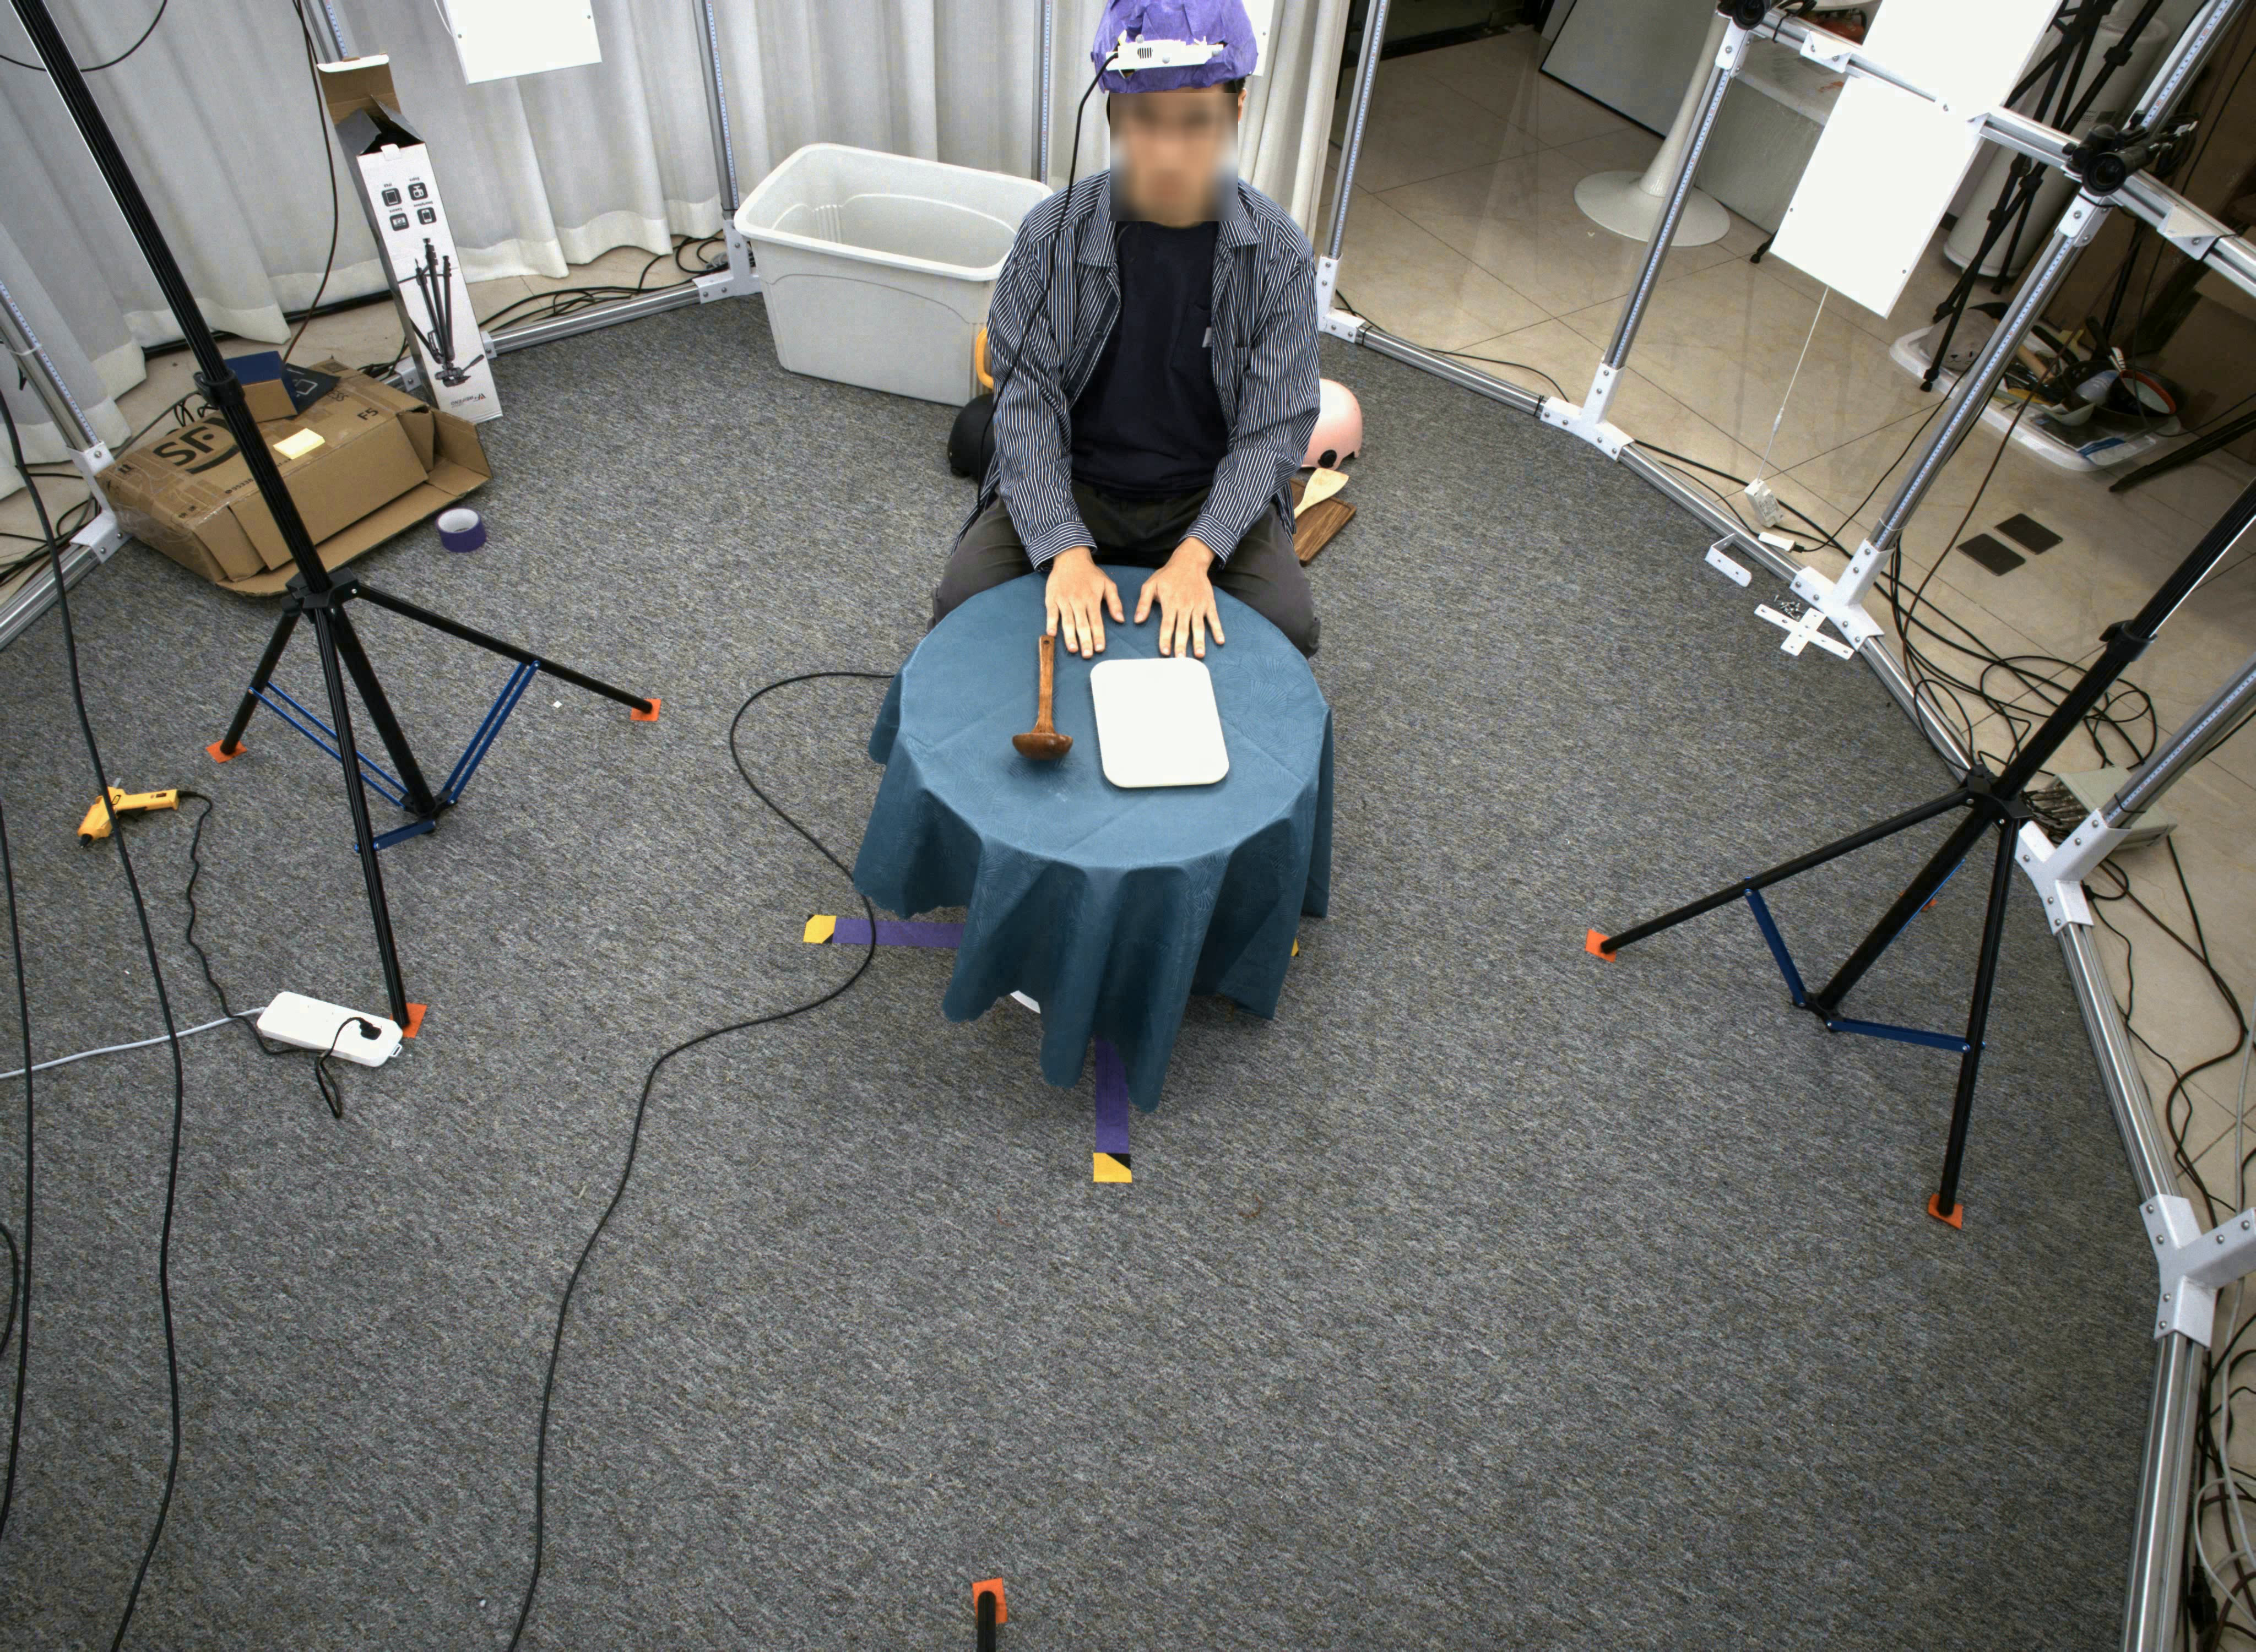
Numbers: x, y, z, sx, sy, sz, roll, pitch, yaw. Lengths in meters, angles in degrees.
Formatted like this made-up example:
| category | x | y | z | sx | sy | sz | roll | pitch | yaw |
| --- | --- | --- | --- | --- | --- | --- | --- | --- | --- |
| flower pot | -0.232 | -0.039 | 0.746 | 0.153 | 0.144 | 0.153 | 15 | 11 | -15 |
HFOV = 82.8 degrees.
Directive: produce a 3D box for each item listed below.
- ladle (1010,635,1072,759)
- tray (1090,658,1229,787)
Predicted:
| category | x | y | z | sx | sy | sz | roll | pitch | yaw |
| --- | --- | --- | --- | --- | --- | --- | --- | --- | --- |
| ladle | -0.114 | -0.193 | 1.767 | 0.082 | 0.075 | 0.281 | 6 | 48 | -5 |
| tray | 0.040 | -0.145 | 1.777 | 0.171 | 0.017 | 0.246 | -2 | 49 | -8 |
